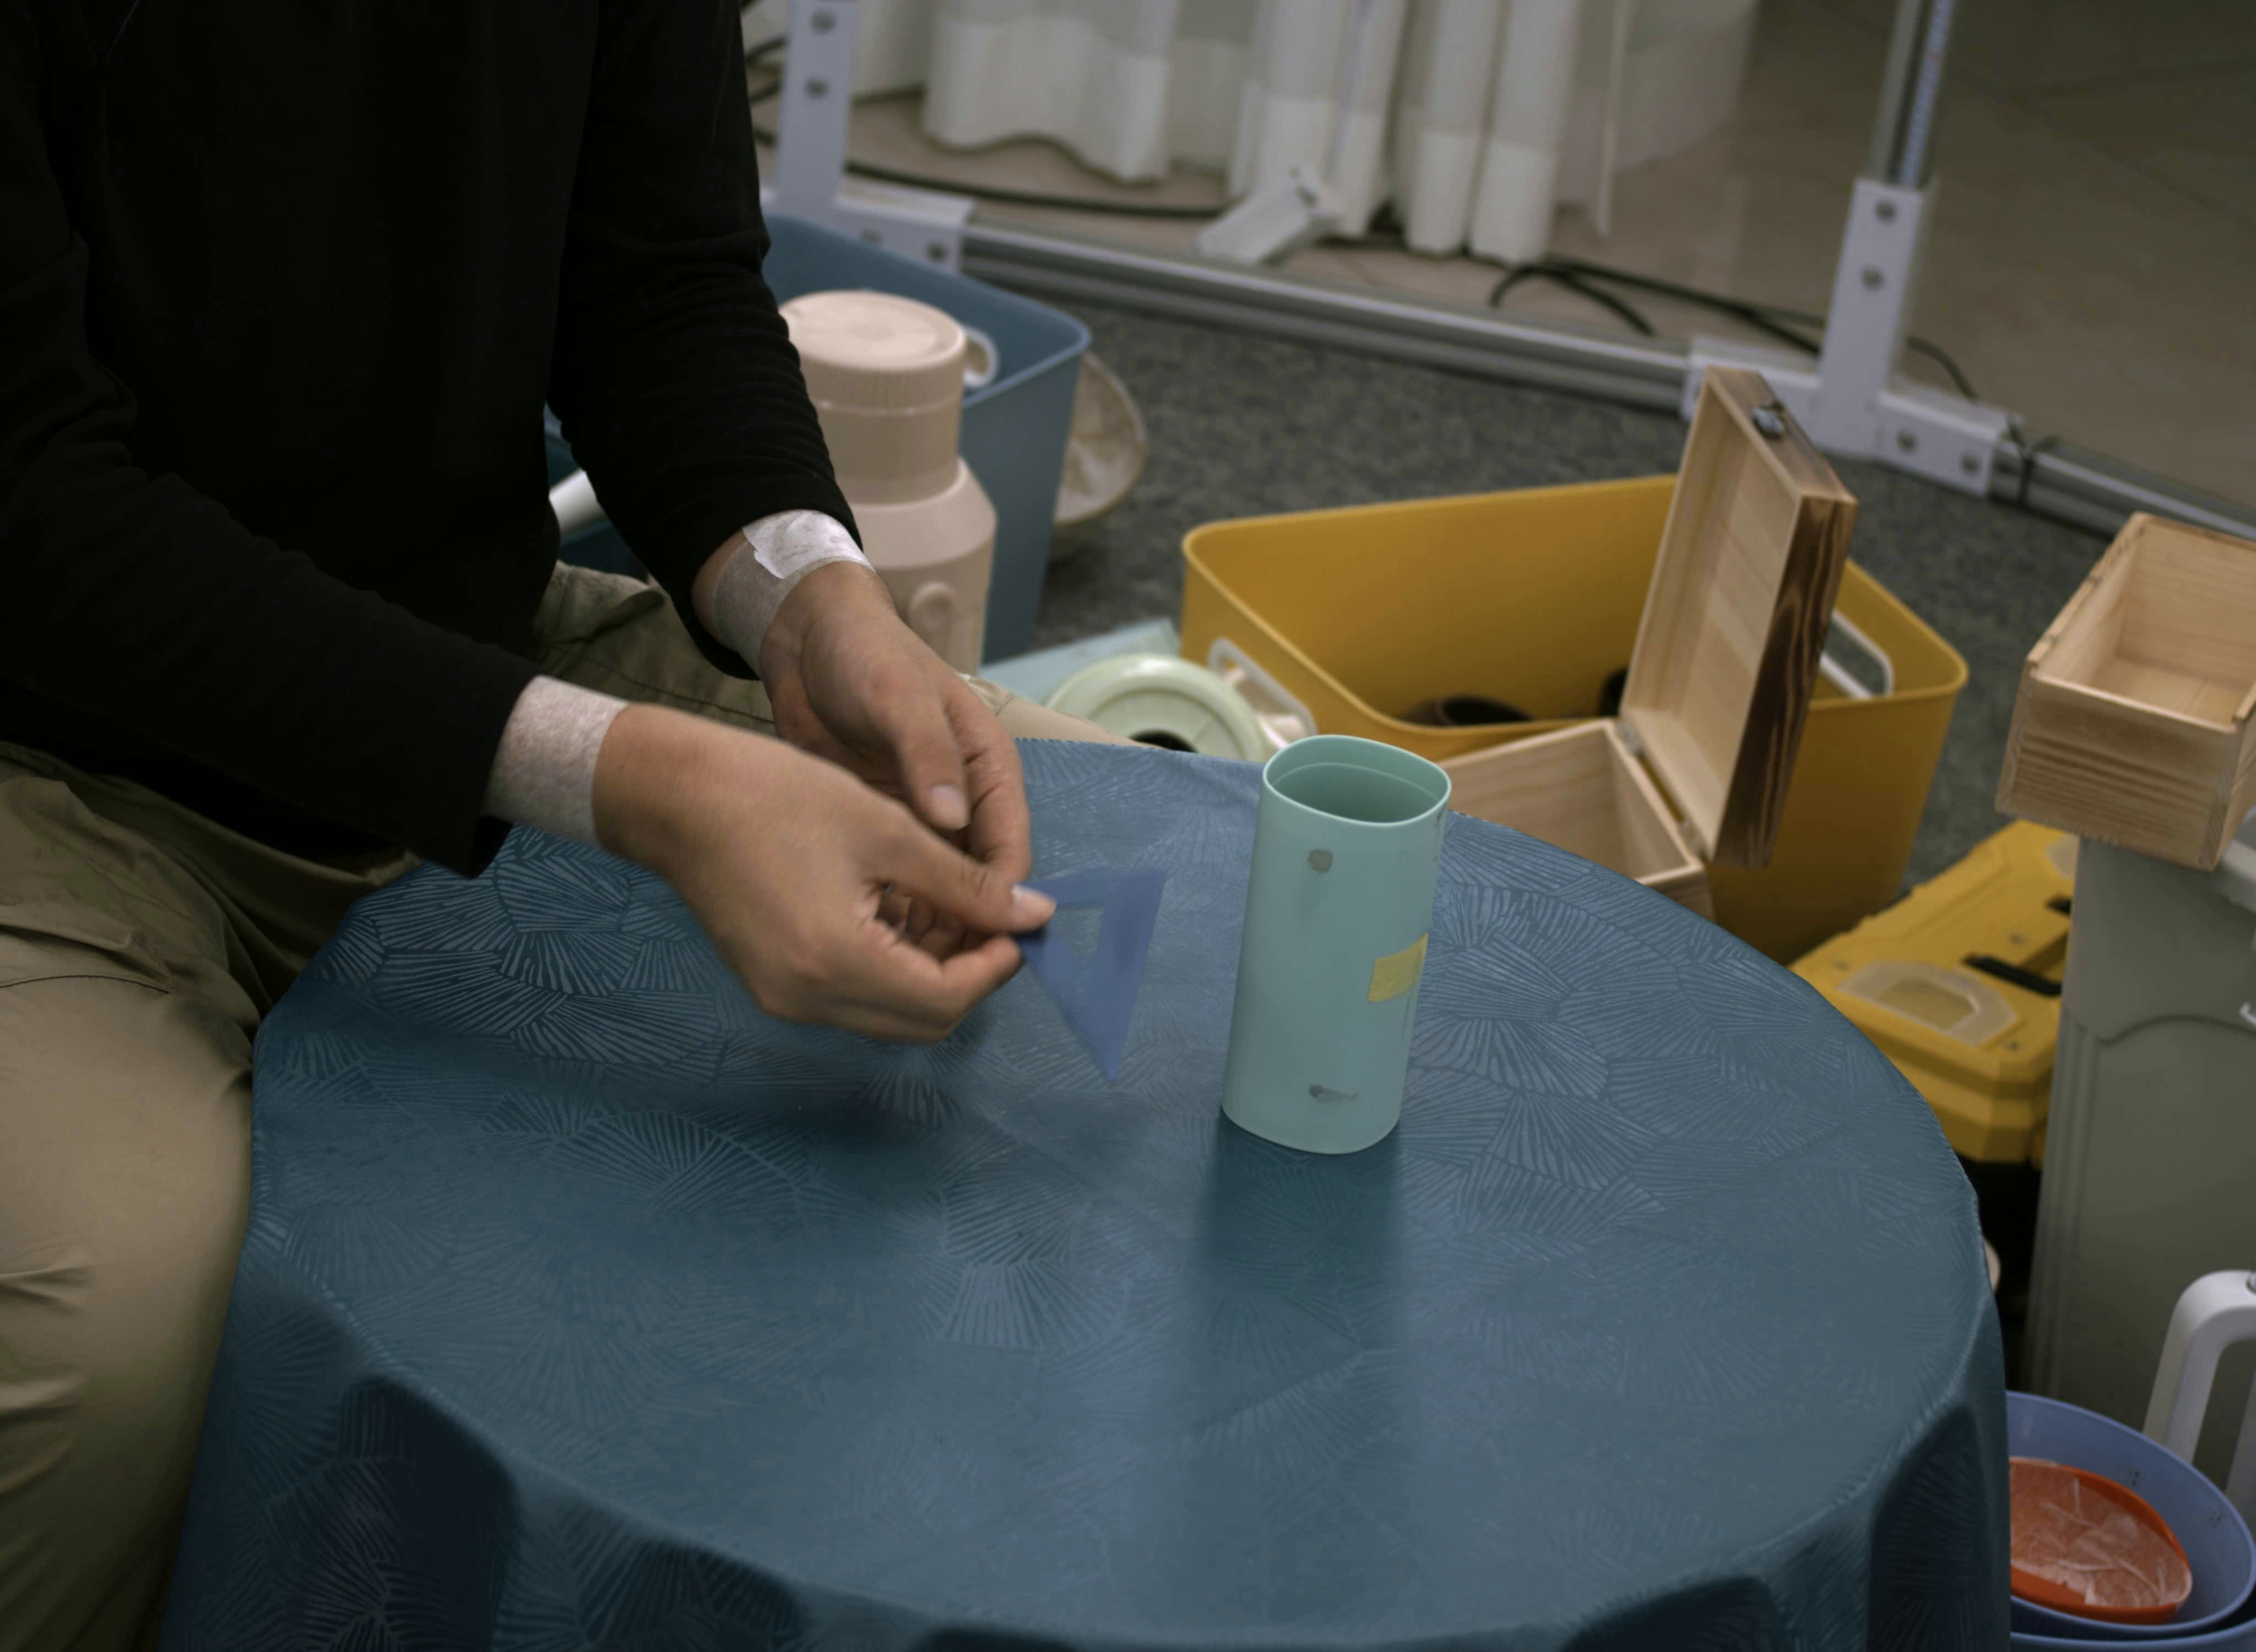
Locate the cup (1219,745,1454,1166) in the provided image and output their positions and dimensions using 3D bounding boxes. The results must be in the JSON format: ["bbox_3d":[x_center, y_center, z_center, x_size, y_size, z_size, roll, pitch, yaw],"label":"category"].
[{"bbox_3d":[0.070,0.044,1.838,0.066,0.132,0.067,6,27,-3],"label":"cup"}]

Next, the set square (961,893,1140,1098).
[{"bbox_3d":[-0.035,0.050,1.785,0.061,0.006,0.132,14,30,5],"label":"set square"}]
